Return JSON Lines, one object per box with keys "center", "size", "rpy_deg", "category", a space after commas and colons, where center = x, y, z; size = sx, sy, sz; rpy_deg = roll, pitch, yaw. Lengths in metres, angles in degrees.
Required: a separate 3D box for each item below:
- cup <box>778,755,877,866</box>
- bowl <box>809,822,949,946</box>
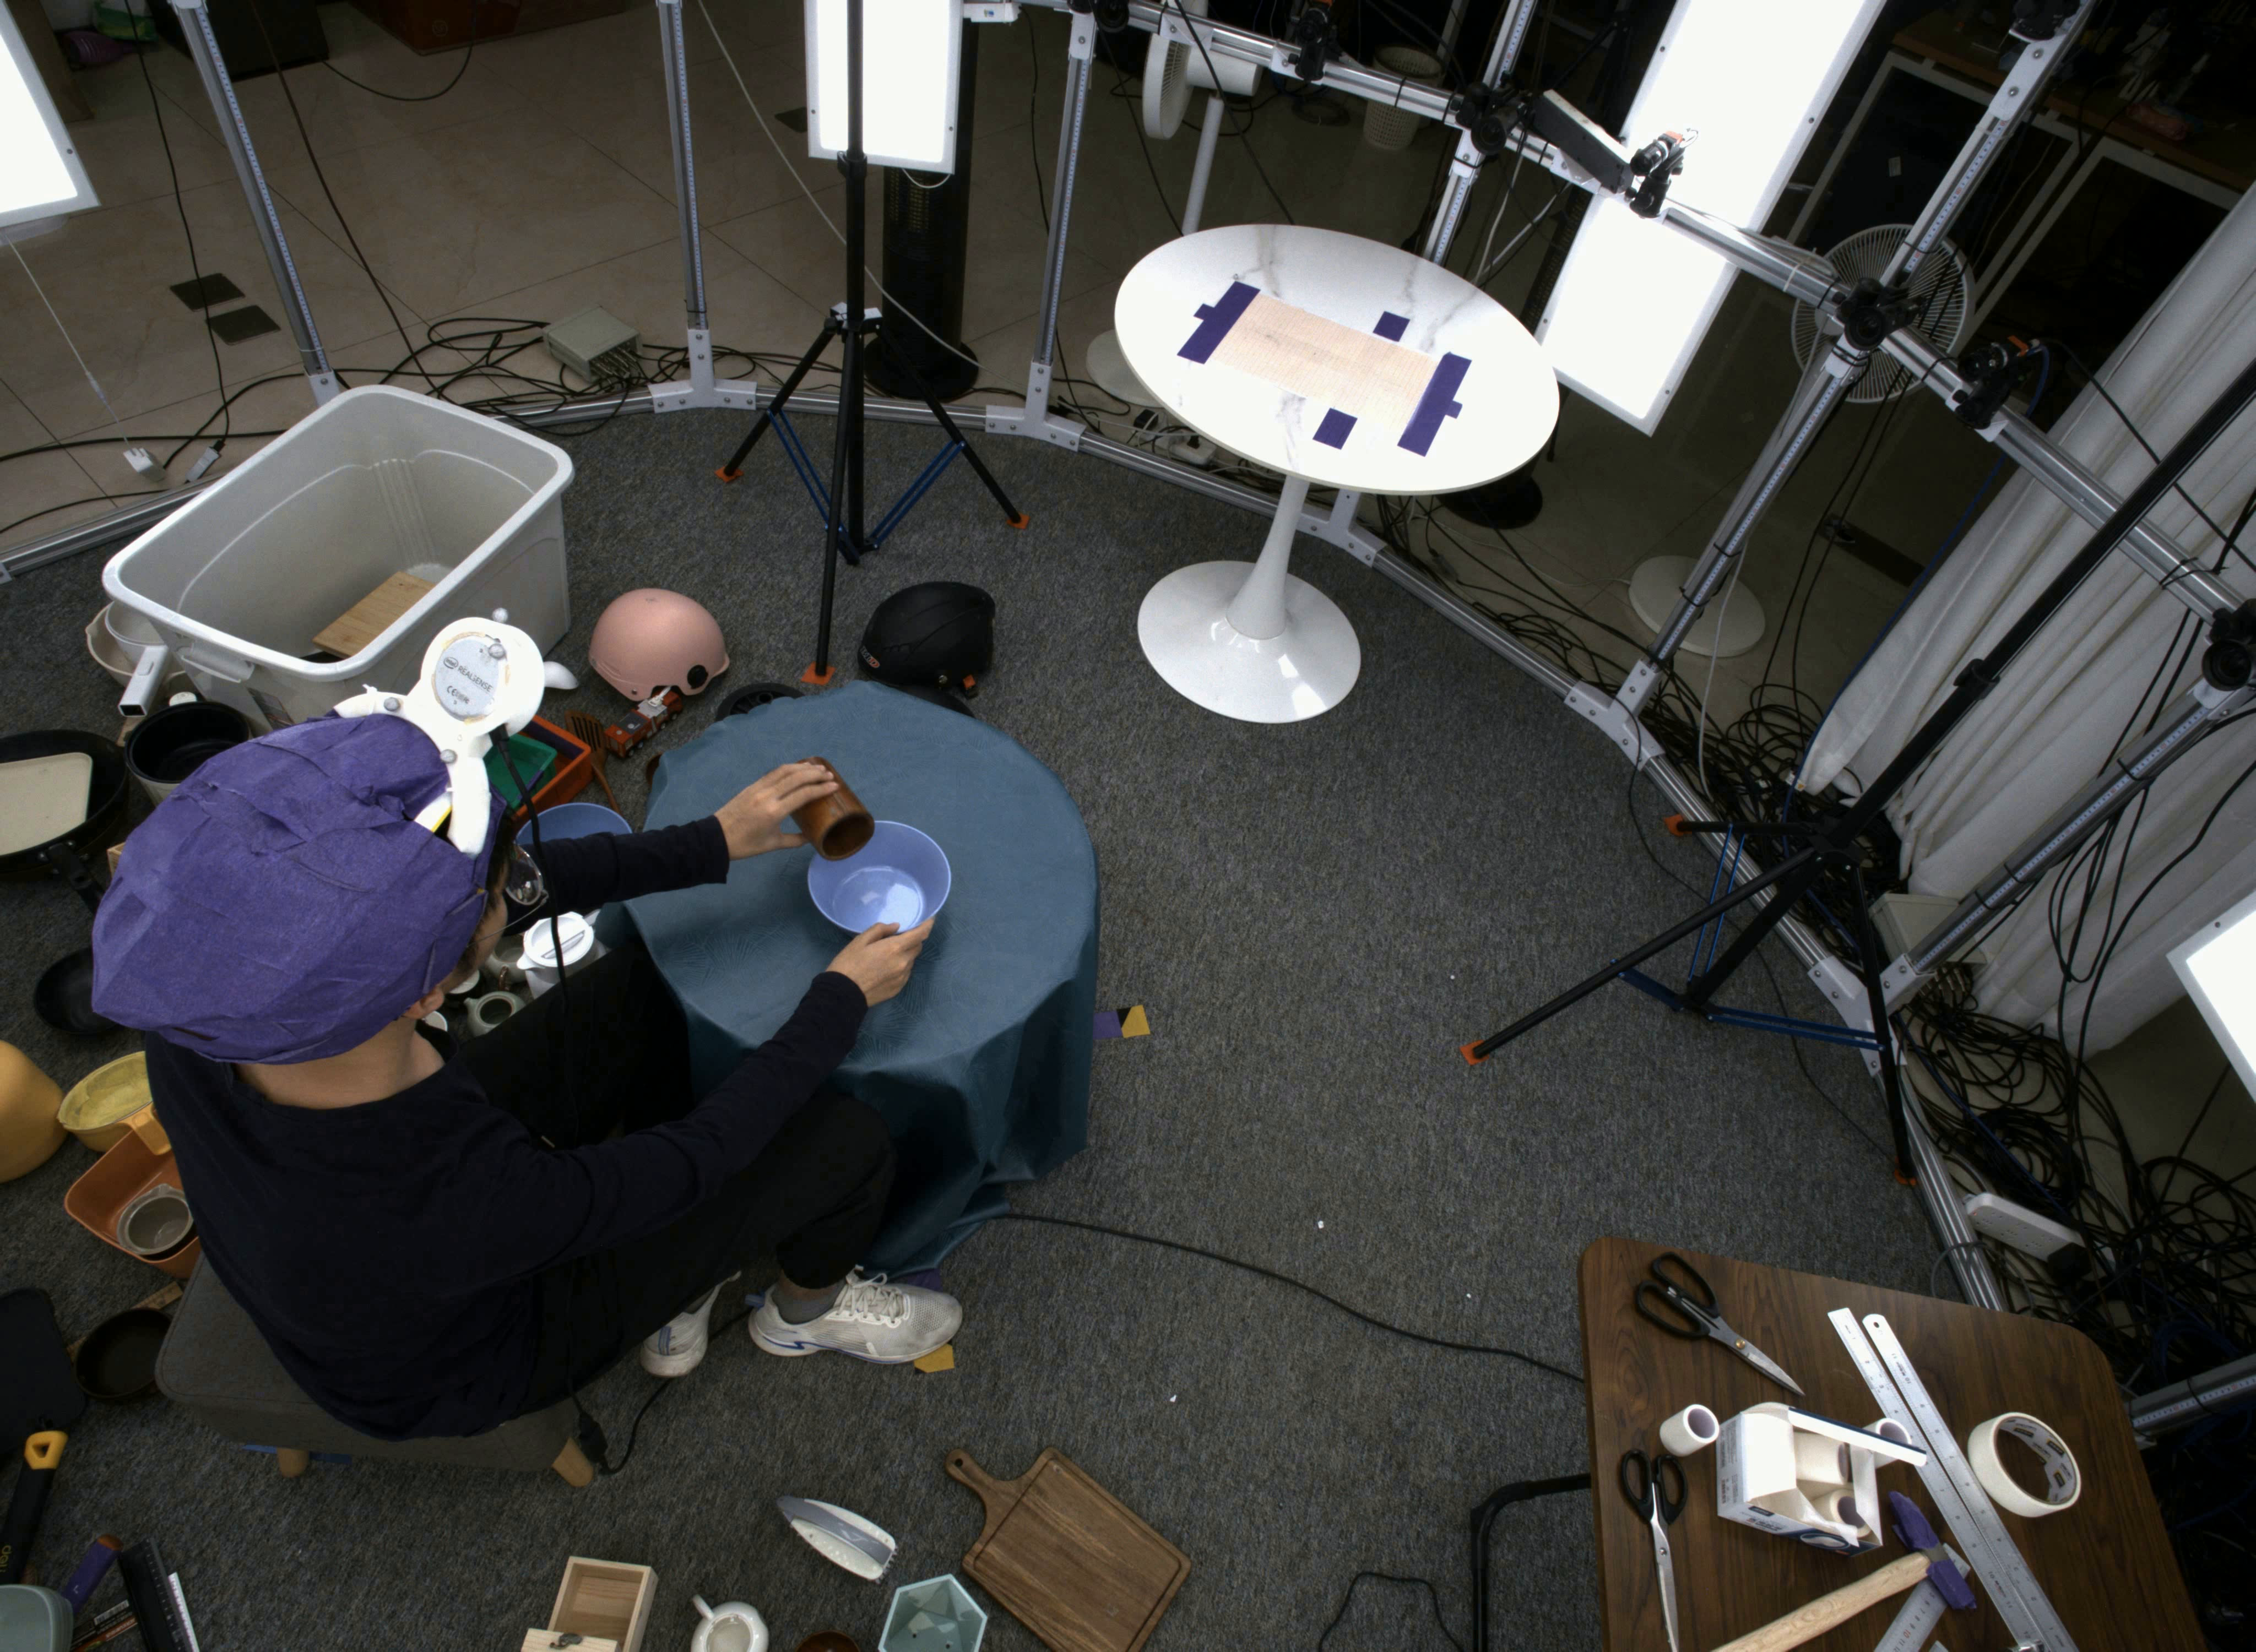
{"center": [-0.372, -0.020, 1.607], "size": [0.088, 0.090, 0.115], "rpy_deg": [-23, 58, -27], "category": "cup"}
{"center": [-0.314, 0.083, 1.646], "size": [0.175, 0.072, 0.173], "rpy_deg": [7, 53, -7], "category": "bowl"}
